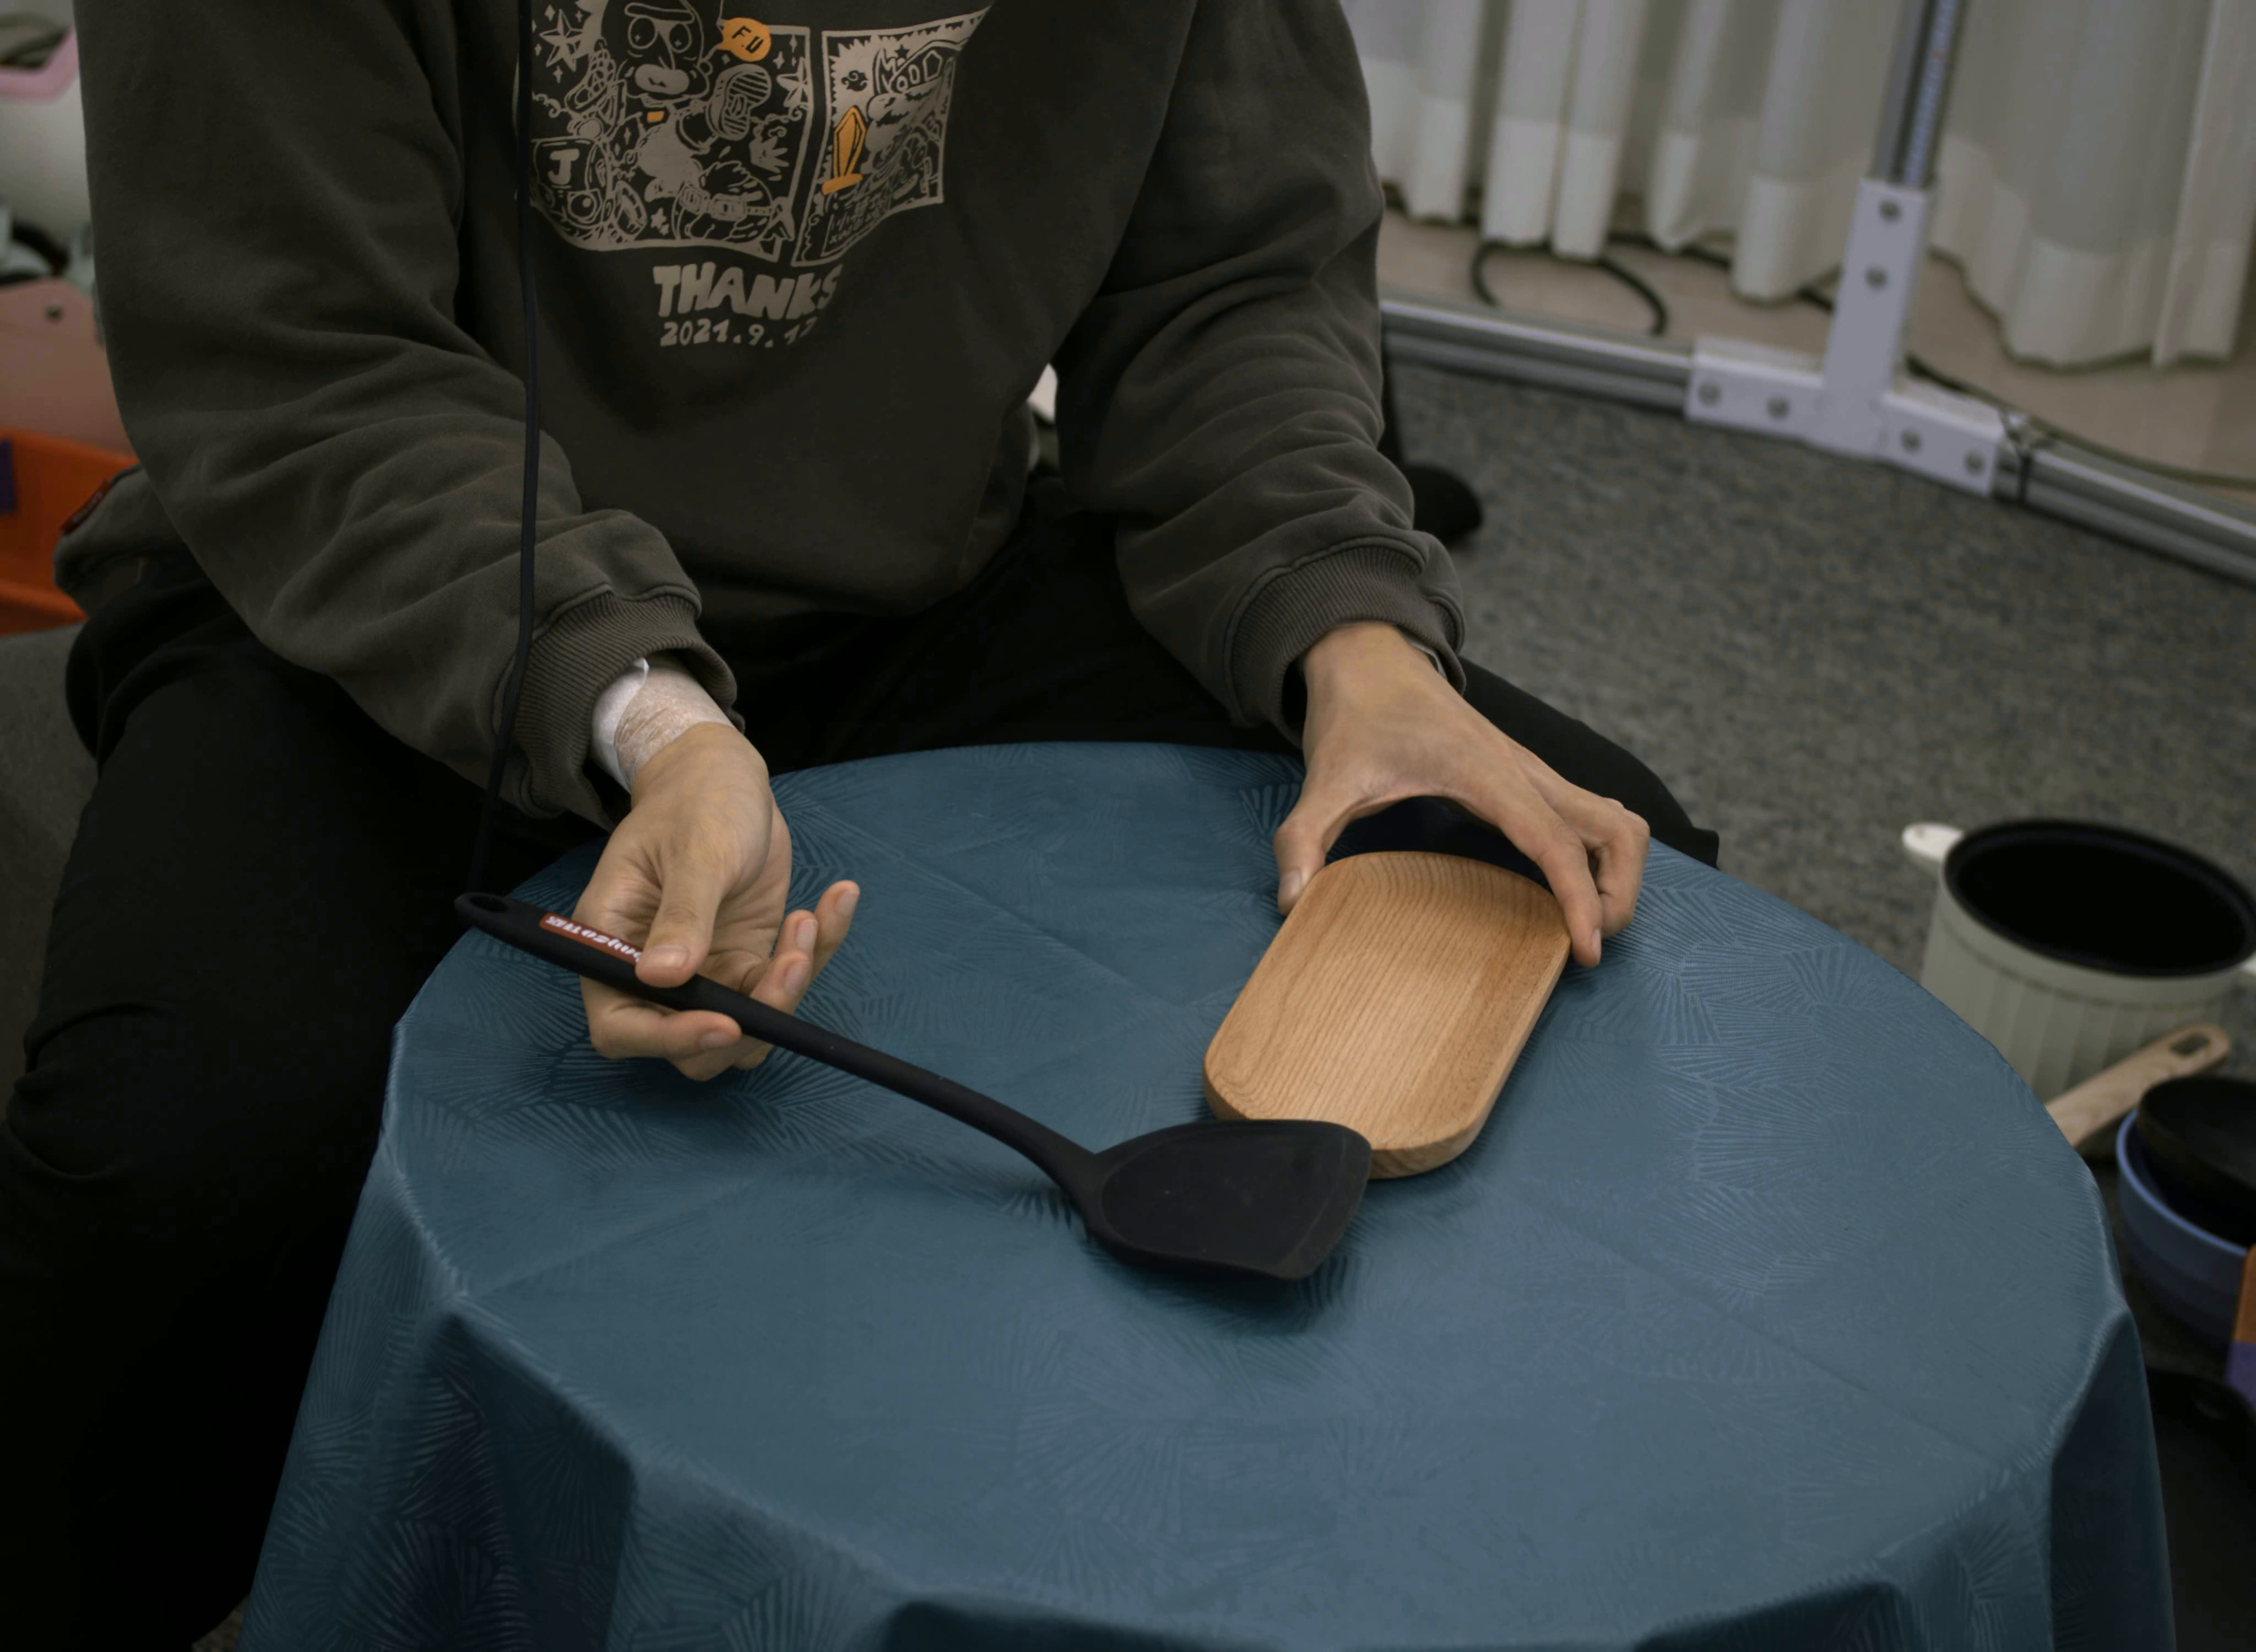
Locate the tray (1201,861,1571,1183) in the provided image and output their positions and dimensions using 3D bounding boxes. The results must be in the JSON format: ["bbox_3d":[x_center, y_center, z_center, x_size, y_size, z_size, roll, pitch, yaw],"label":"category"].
[{"bbox_3d":[0.094,0.069,1.917,0.102,0.020,0.231,12,28,13],"label":"tray"}]

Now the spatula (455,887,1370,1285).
[{"bbox_3d":[-0.078,0.079,1.798,0.326,0.040,0.100,24,30,7],"label":"spatula"}]
